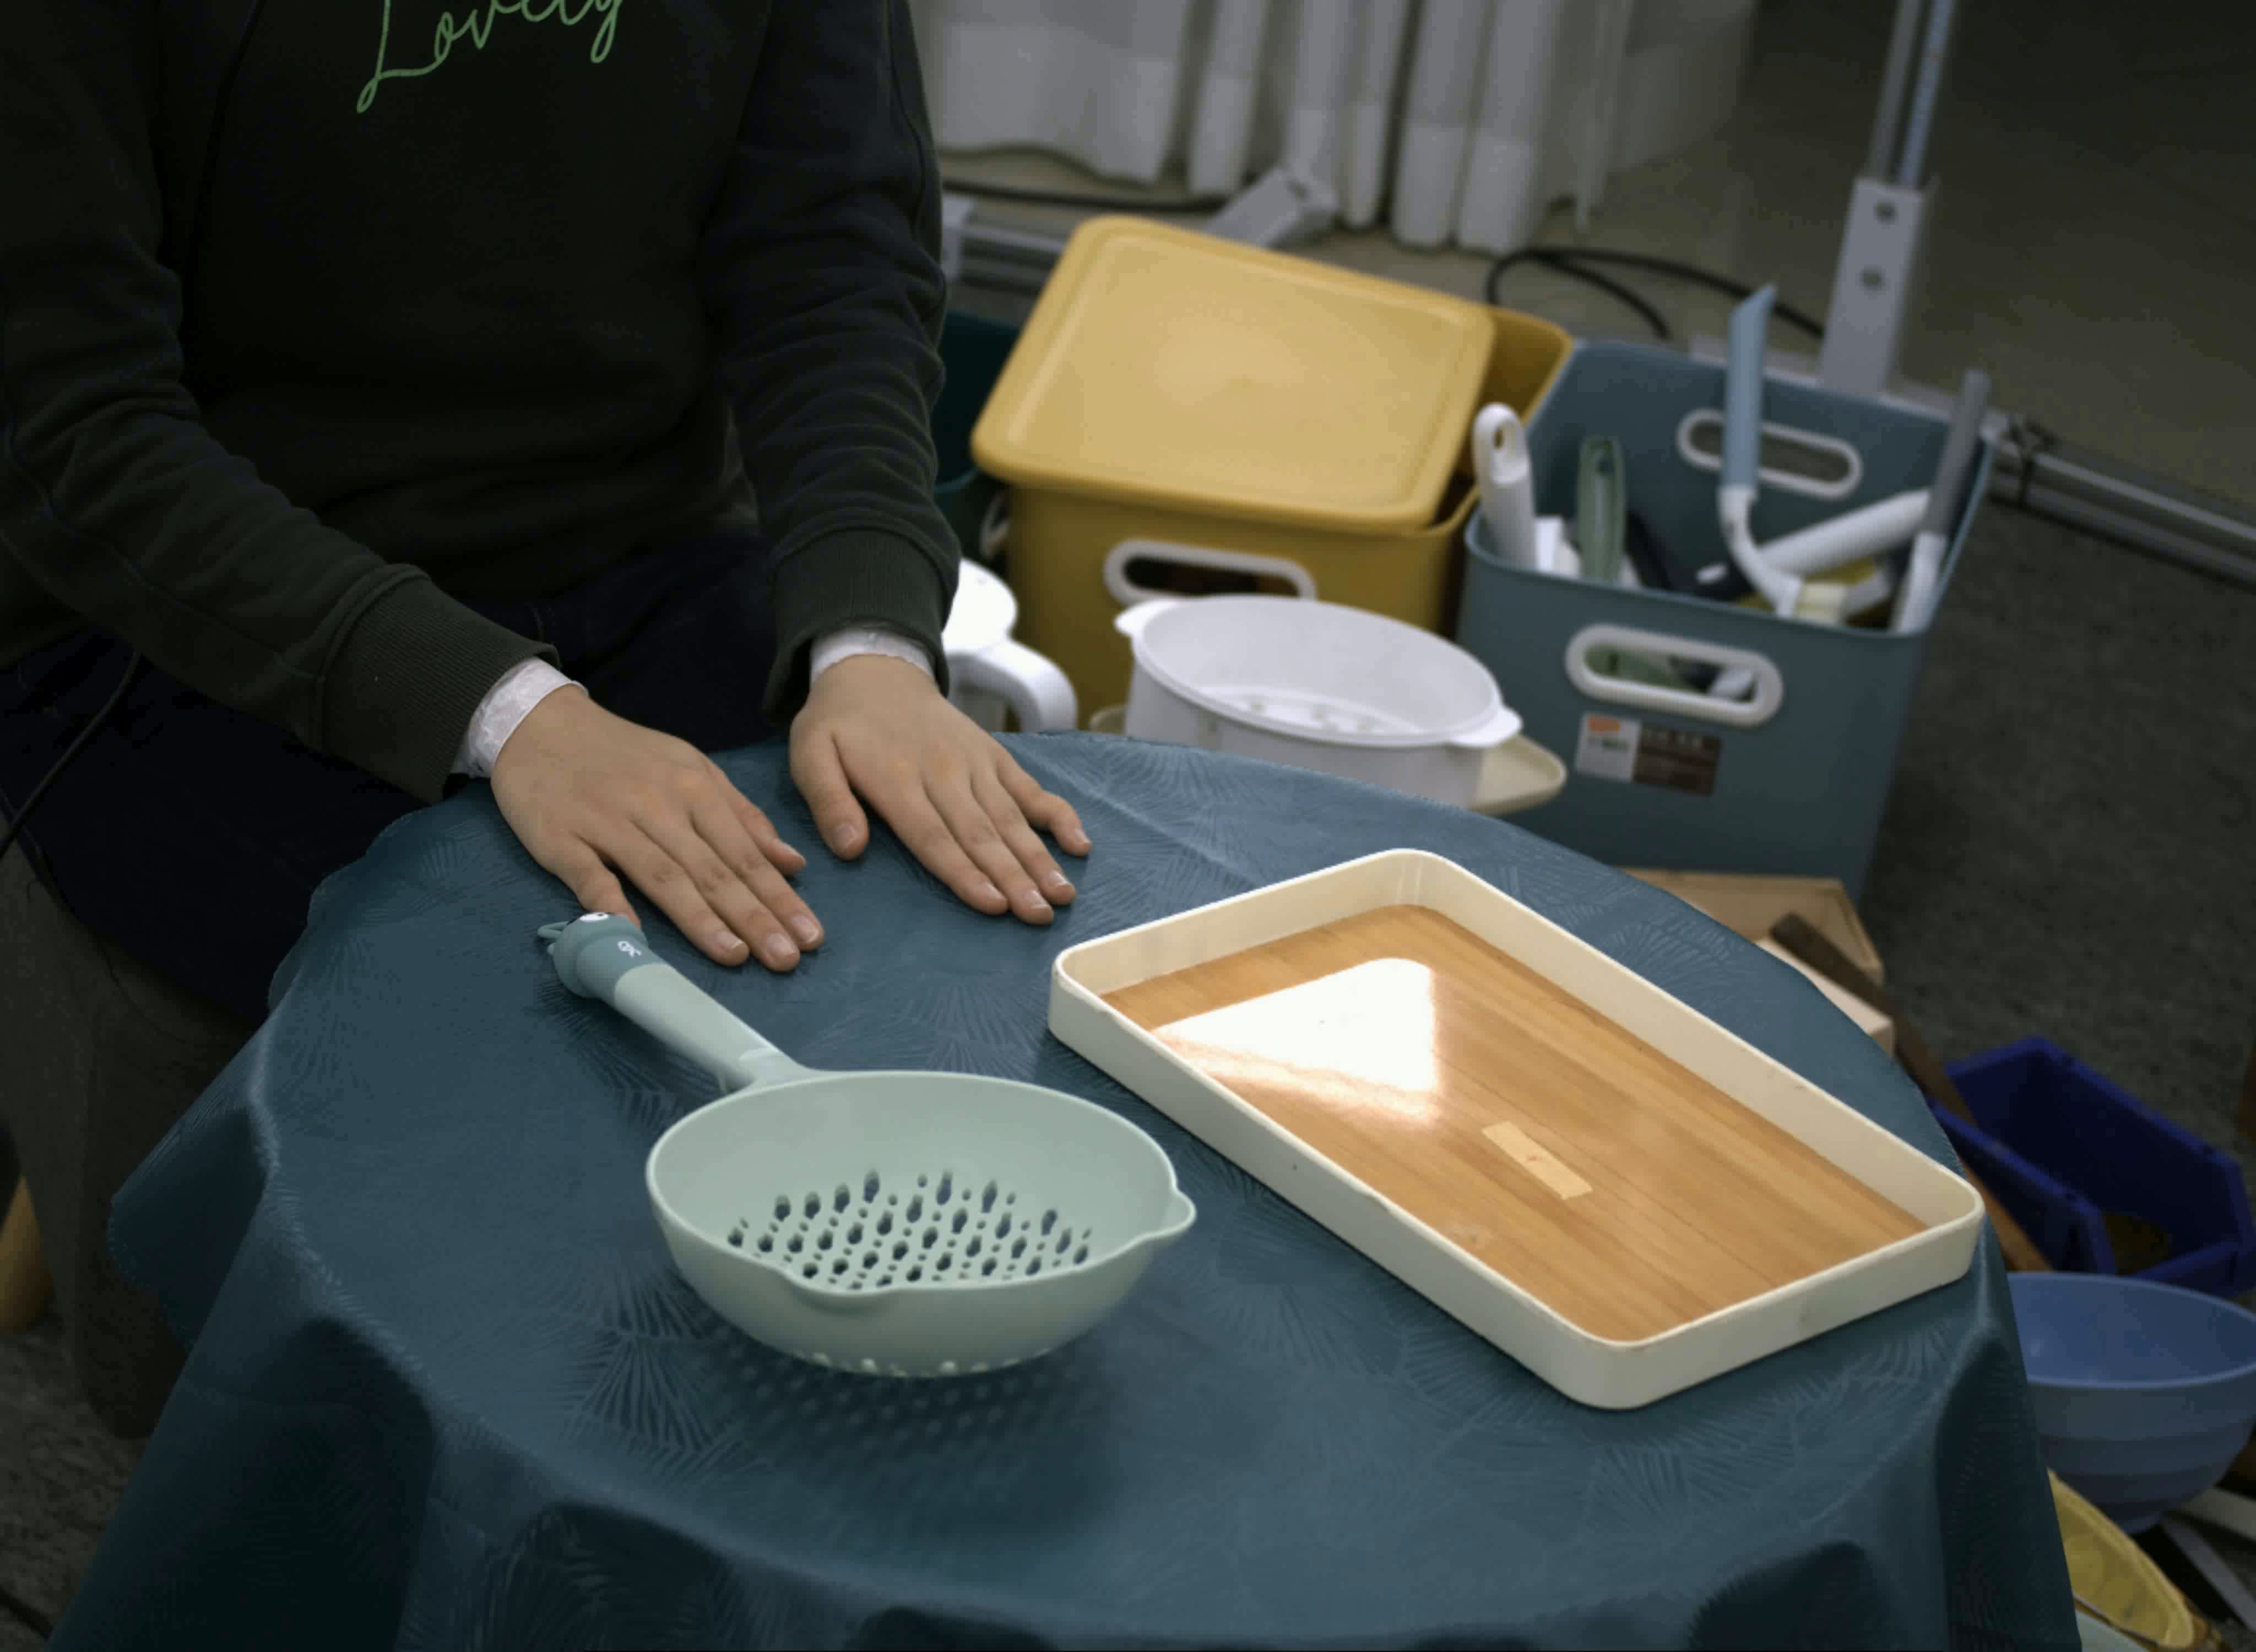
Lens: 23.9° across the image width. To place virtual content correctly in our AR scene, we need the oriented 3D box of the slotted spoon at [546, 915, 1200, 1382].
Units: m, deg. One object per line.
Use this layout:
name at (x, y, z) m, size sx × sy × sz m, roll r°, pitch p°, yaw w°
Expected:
slotted spoon at (-0.116, 0.091, 1.767) m, size 0.168 × 0.075 × 0.362 m, roll -8°, pitch 30°, yaw -28°

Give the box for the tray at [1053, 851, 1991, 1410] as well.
tray at (0.132, 0.100, 1.849) m, size 0.190 × 0.027 × 0.303 m, roll -15°, pitch 34°, yaw -37°
